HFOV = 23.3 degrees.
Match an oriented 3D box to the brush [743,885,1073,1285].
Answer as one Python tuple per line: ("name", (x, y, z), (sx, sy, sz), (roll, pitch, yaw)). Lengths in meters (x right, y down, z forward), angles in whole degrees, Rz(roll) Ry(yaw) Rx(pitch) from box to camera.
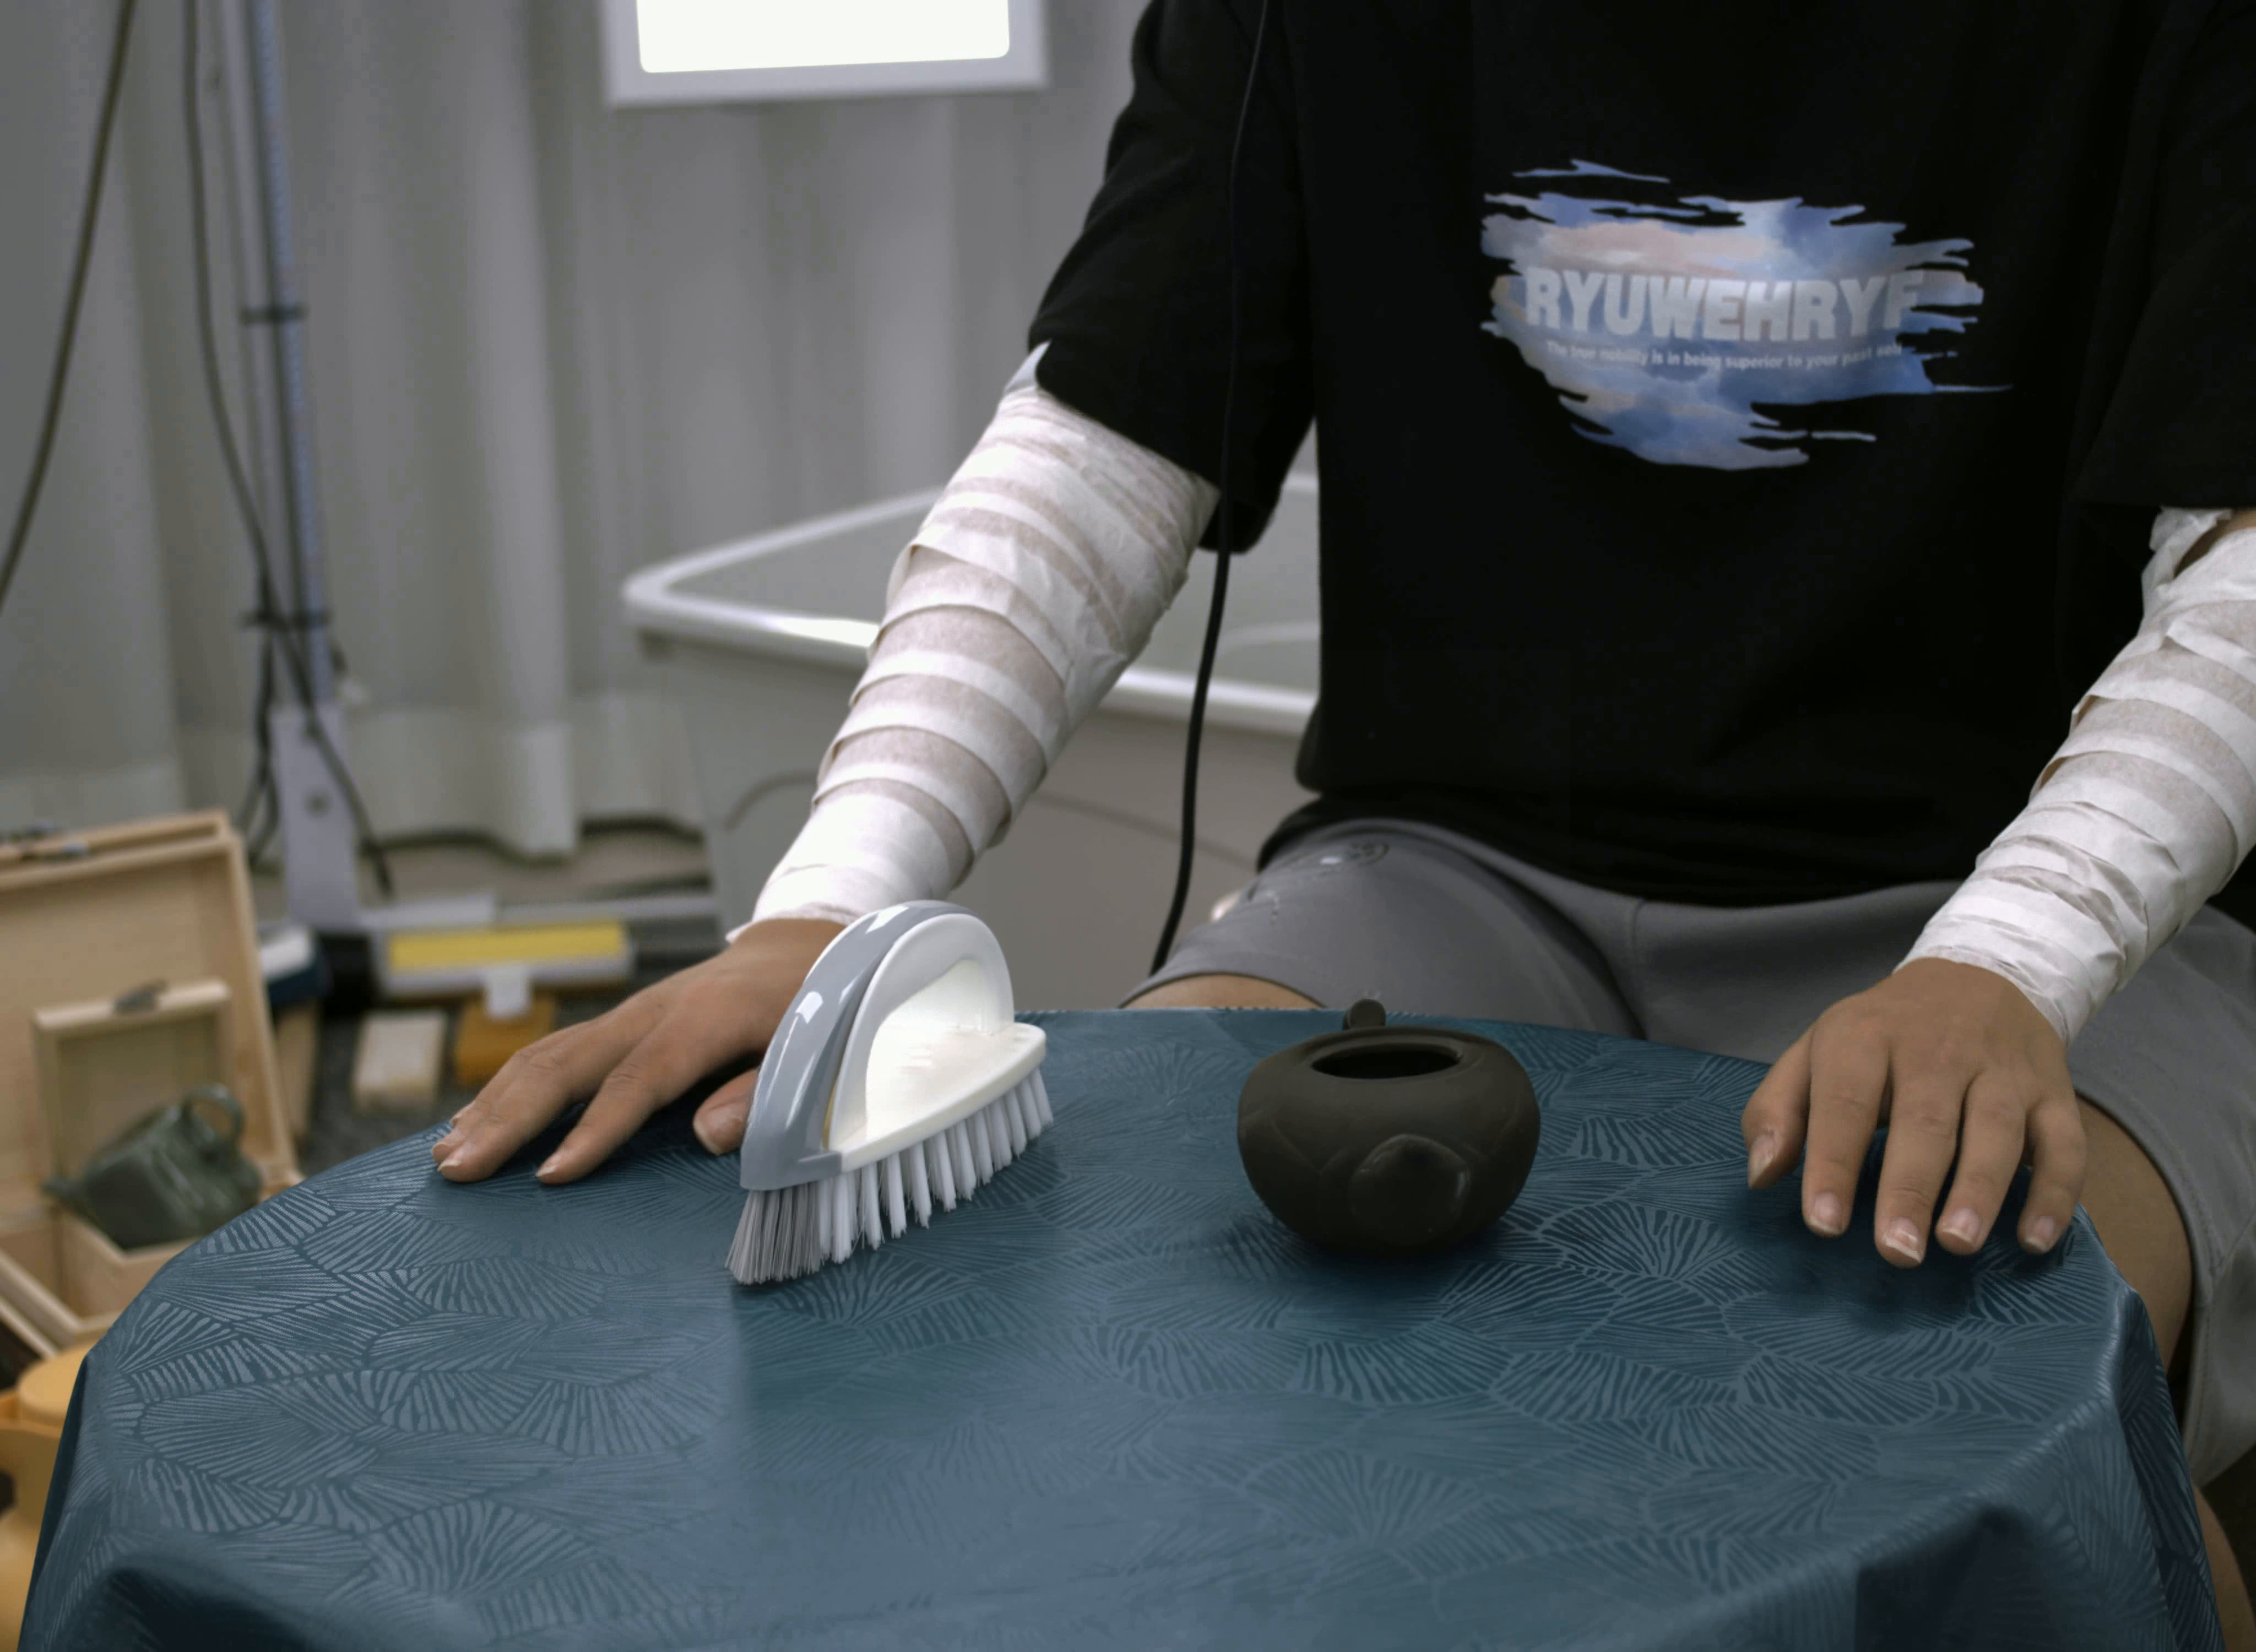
("brush", (-0.078, 0.075, 1.701), (0.061, 0.094, 0.176), (-2, 15, 25))

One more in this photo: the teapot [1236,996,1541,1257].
("teapot", (0.078, 0.092, 1.657), (0.092, 0.064, 0.155), (-3, 16, -3))
